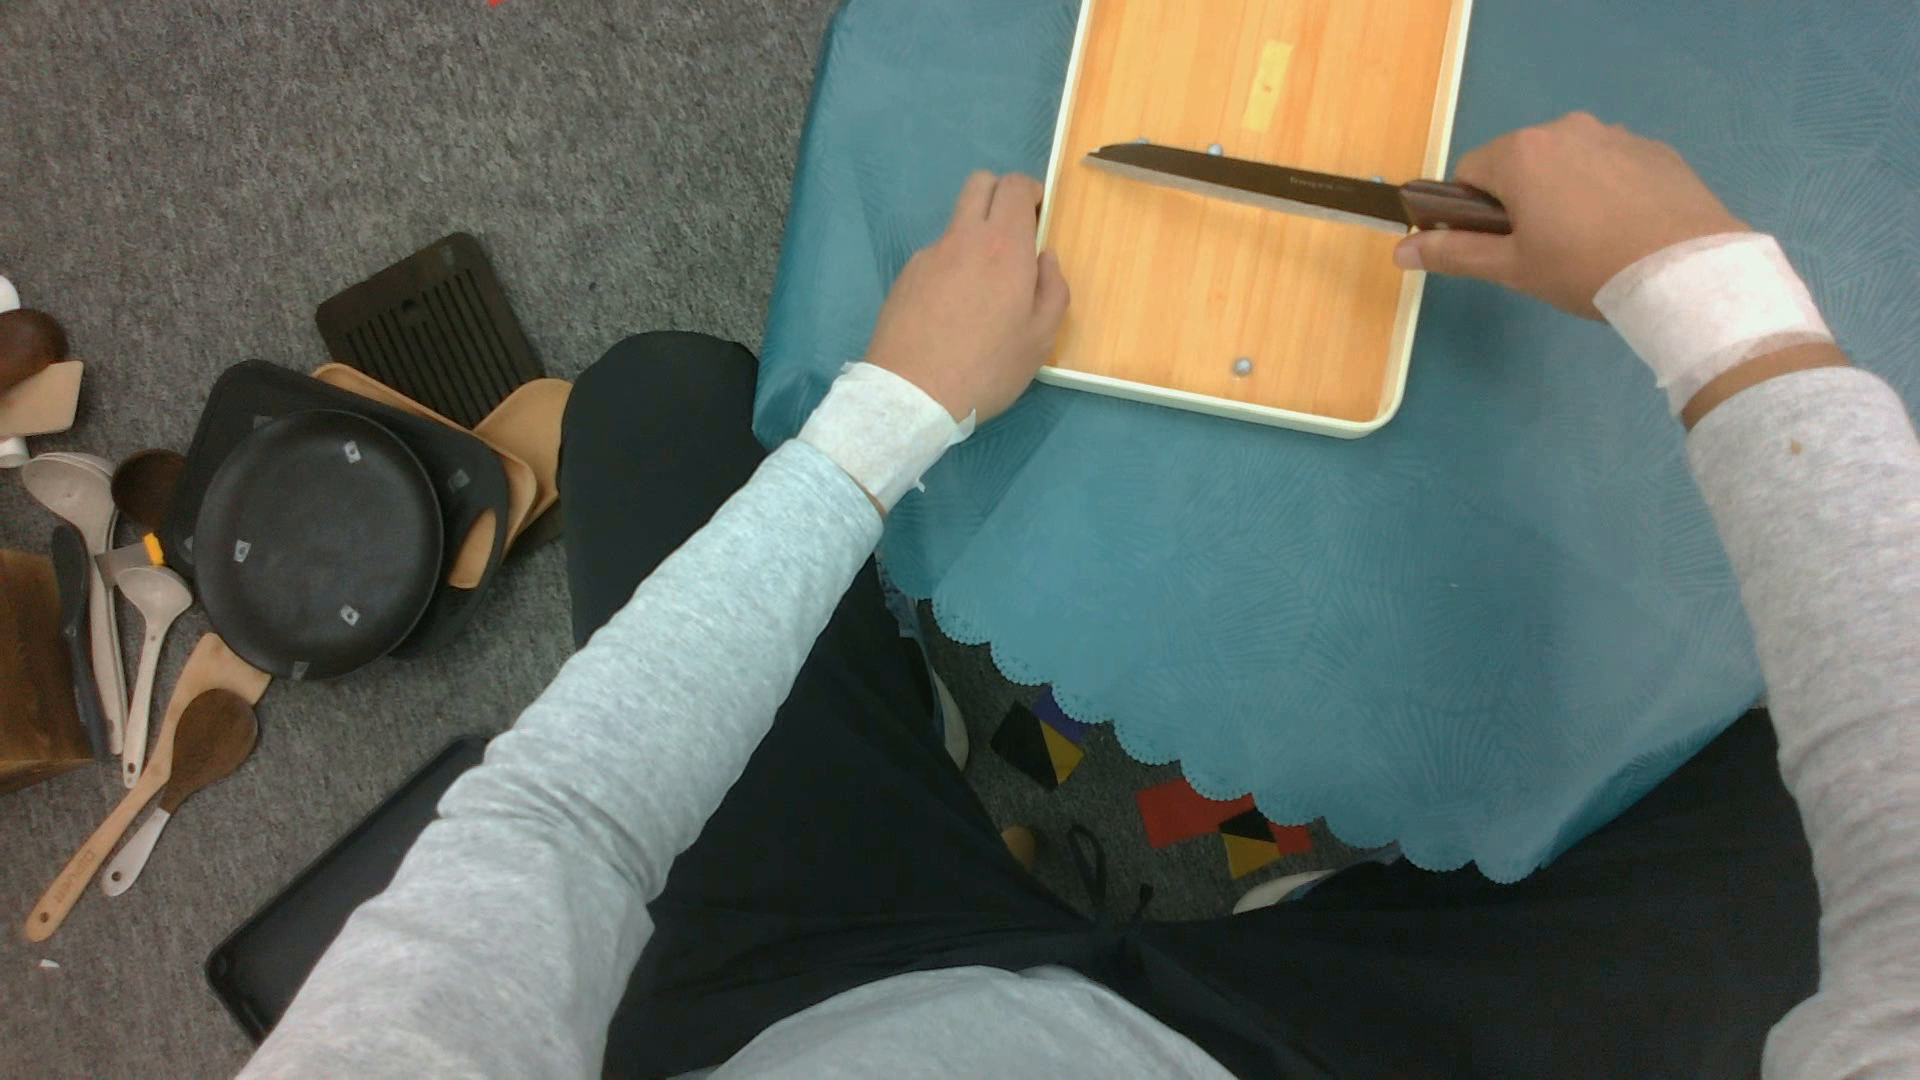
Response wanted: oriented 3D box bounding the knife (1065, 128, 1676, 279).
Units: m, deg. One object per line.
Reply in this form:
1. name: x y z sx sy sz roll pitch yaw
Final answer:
1. knife: 0.182 -0.163 0.654 0.289 0.050 0.020 17 77 21

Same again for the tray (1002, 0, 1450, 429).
1. tray: 0.140 -0.216 0.703 0.191 0.027 0.300 11 83 4
